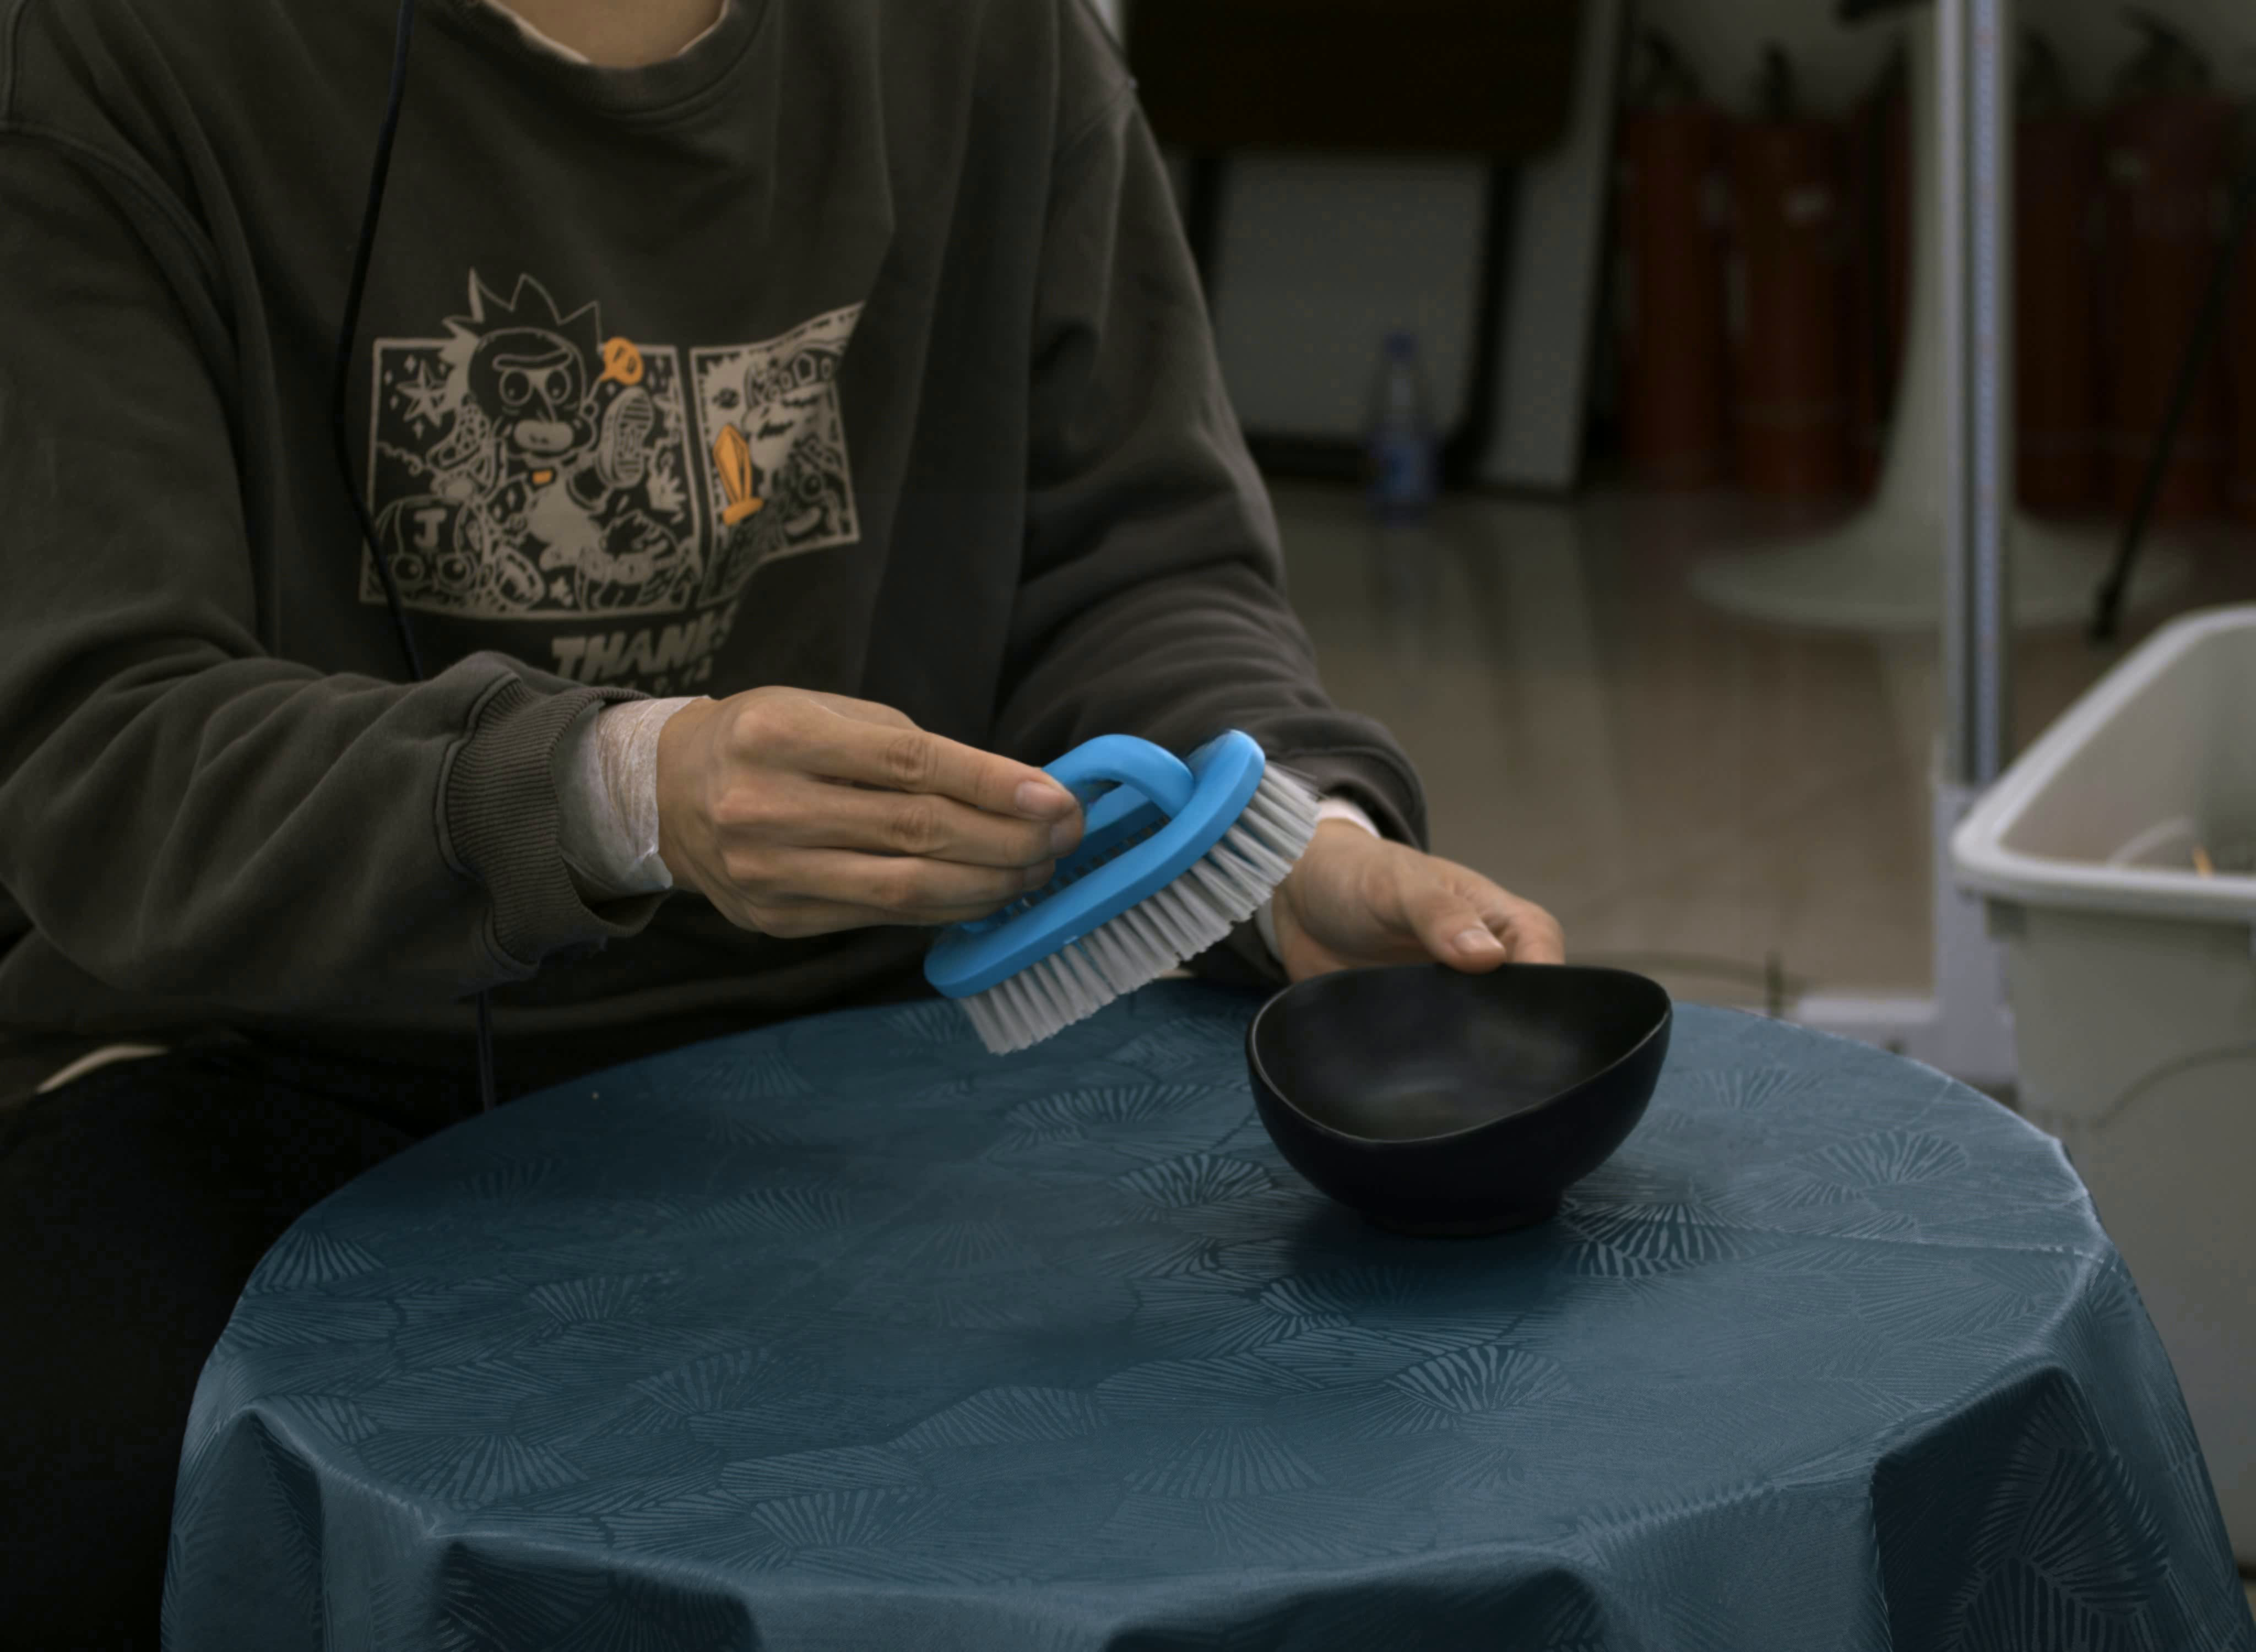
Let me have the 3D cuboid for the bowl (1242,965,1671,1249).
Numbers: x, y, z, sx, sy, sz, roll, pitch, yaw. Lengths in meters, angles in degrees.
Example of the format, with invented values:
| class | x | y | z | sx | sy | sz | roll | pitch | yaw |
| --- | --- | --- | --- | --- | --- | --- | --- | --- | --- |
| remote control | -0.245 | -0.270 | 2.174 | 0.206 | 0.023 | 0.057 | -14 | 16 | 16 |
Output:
| class | x | y | z | sx | sy | sz | roll | pitch | yaw |
| --- | --- | --- | --- | --- | --- | --- | --- | --- | --- |
| bowl | 0.107 | 0.094 | 1.726 | 0.137 | 0.067 | 0.169 | -1 | 15 | 18 |

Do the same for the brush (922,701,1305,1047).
| class | x | y | z | sx | sy | sz | roll | pitch | yaw |
| --- | --- | --- | --- | --- | --- | --- | --- | --- | --- |
| brush | -0.015 | 0.007 | 1.650 | 0.143 | 0.063 | 0.084 | -32 | 22 | 36 |
